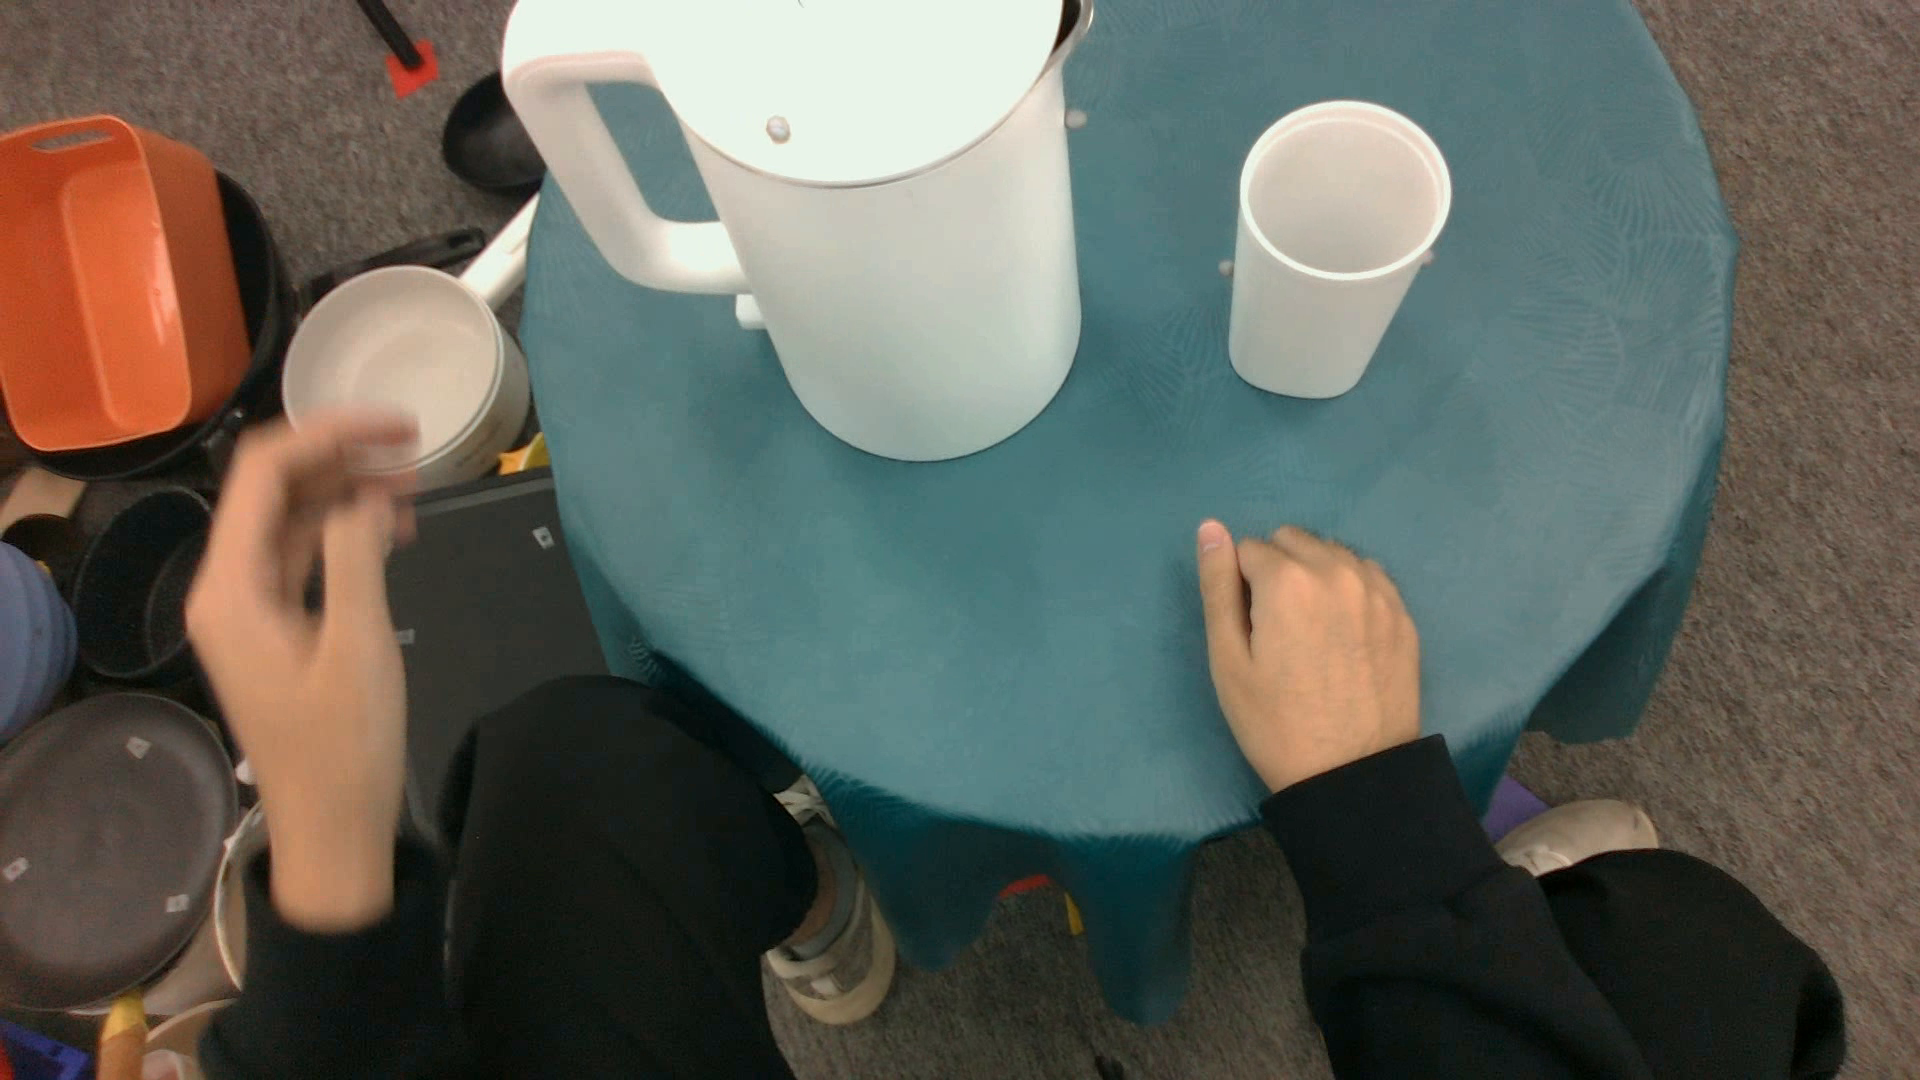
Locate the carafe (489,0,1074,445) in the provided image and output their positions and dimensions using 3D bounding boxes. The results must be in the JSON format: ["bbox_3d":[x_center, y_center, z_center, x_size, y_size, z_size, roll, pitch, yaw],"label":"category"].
[{"bbox_3d":[-0.059,-0.155,0.580,0.213,0.239,0.152,-1,70,4],"label":"carafe"}]

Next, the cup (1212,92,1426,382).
[{"bbox_3d":[0.151,-0.127,0.611,0.081,0.125,0.082,-2,72,5],"label":"cup"}]
